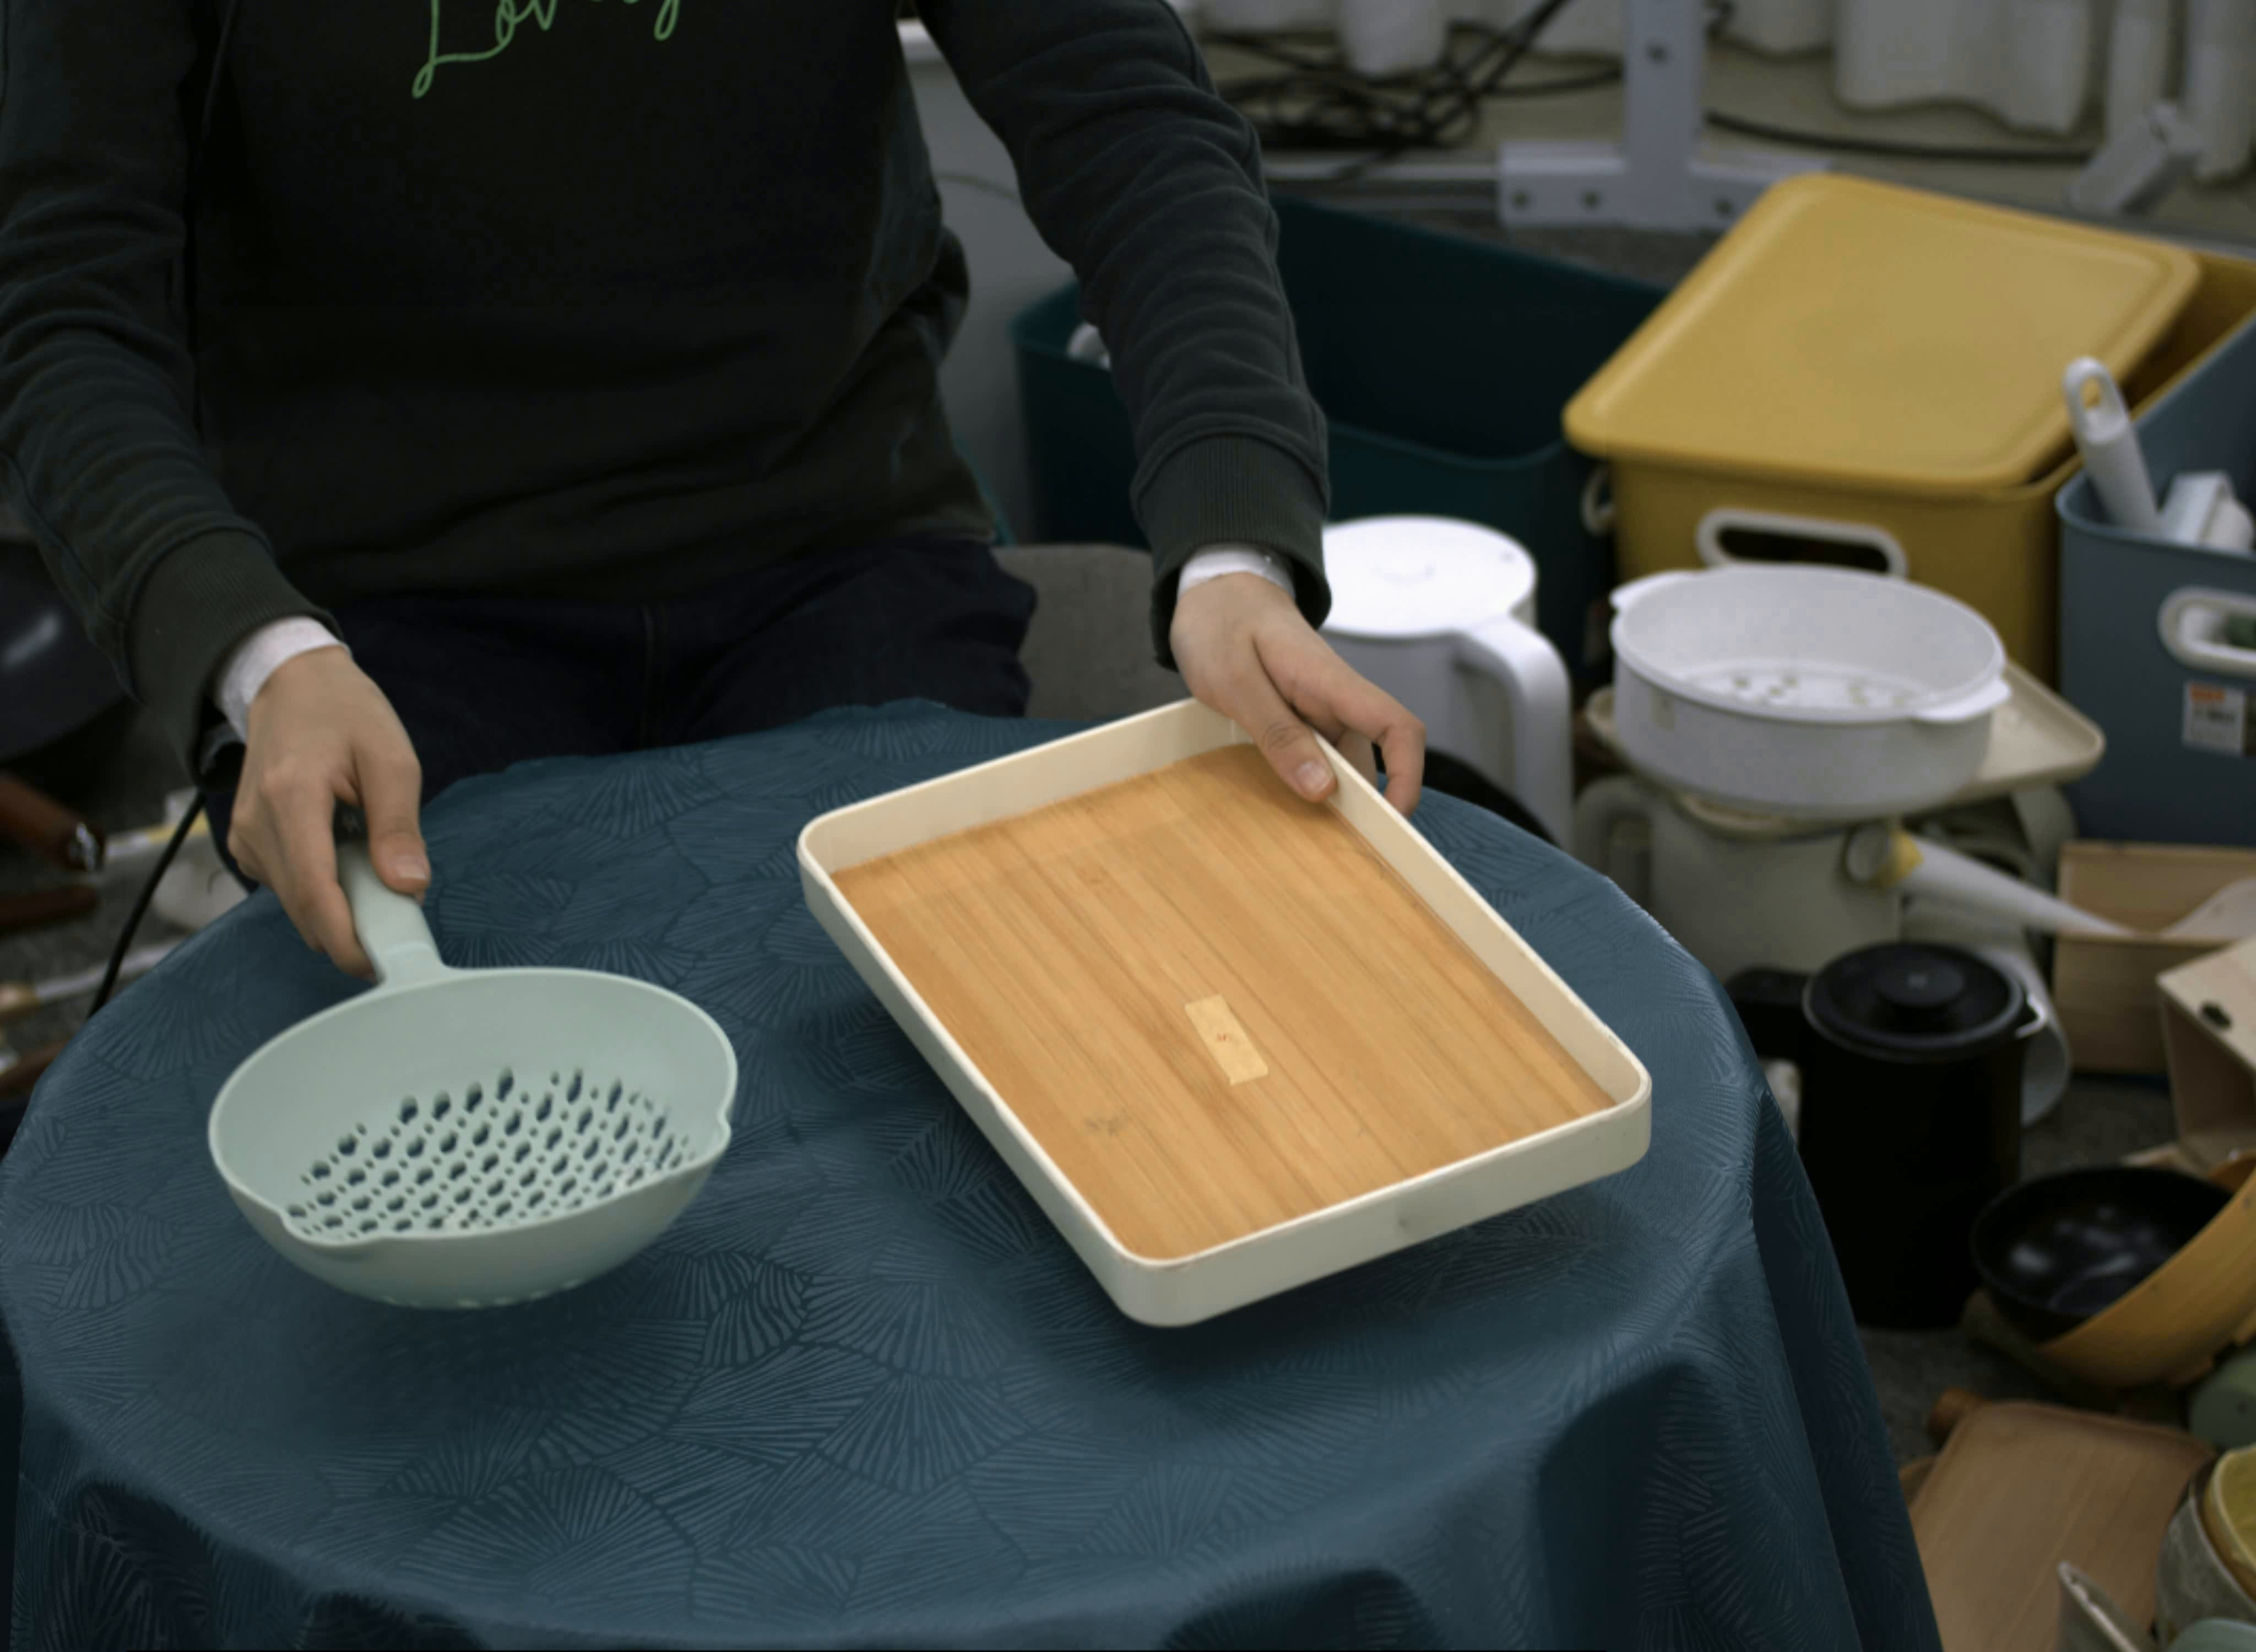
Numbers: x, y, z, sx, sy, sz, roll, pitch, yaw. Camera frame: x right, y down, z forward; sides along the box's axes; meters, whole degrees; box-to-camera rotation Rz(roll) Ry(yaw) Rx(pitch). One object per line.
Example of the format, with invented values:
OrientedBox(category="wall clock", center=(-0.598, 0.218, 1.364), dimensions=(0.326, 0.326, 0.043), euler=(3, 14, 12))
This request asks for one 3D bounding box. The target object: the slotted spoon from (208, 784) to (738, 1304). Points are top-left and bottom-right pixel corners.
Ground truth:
OrientedBox(category="slotted spoon", center=(-0.236, 0.056, 1.872), dimensions=(0.169, 0.074, 0.363), euler=(-11, 34, -14))

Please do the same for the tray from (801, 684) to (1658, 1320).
OrientedBox(category="tray", center=(0.028, 0.053, 1.880), dimensions=(0.192, 0.027, 0.303), euler=(-17, 34, -18))
